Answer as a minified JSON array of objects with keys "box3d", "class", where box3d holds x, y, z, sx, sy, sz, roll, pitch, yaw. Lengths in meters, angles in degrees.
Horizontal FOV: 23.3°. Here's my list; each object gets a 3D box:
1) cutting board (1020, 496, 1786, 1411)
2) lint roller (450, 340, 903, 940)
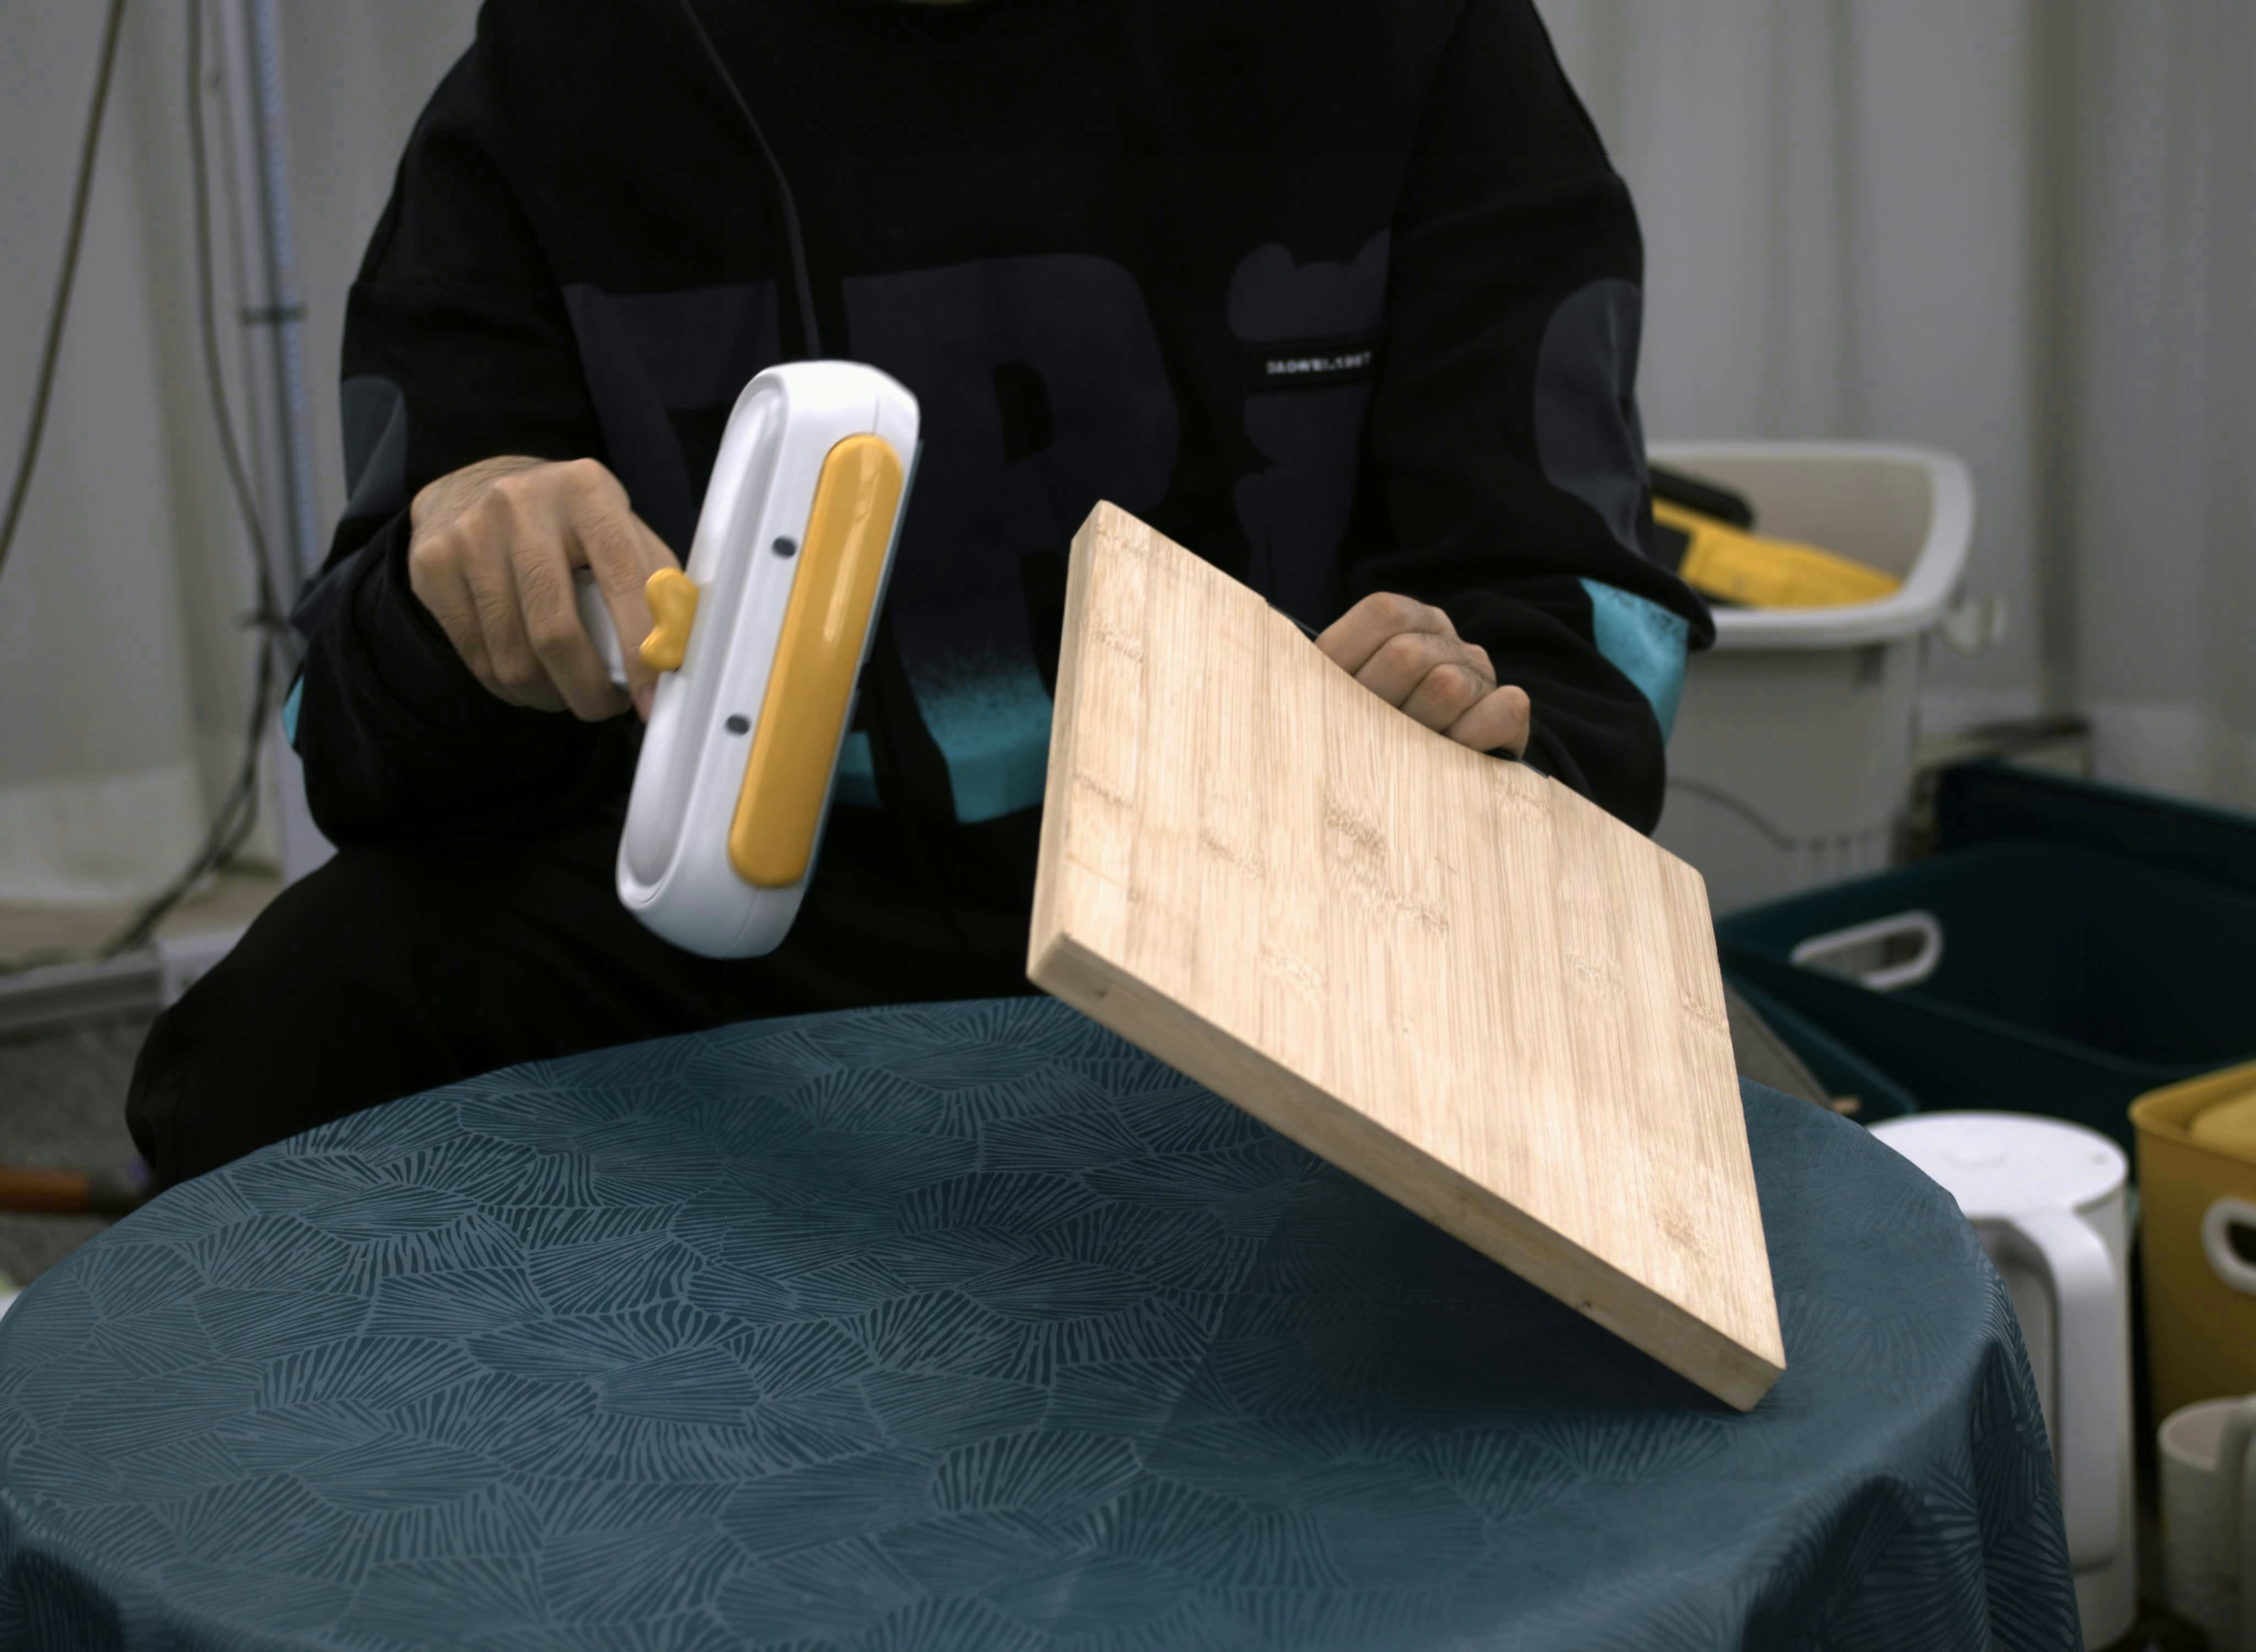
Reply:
[{"box3d":[0.082,0.027,1.642,0.249,0.023,0.352,32,20,-11],"class":"cutting board"},{"box3d":[-0.153,-0.062,1.779,0.073,0.194,0.193,12,-6,-33],"class":"lint roller"}]
